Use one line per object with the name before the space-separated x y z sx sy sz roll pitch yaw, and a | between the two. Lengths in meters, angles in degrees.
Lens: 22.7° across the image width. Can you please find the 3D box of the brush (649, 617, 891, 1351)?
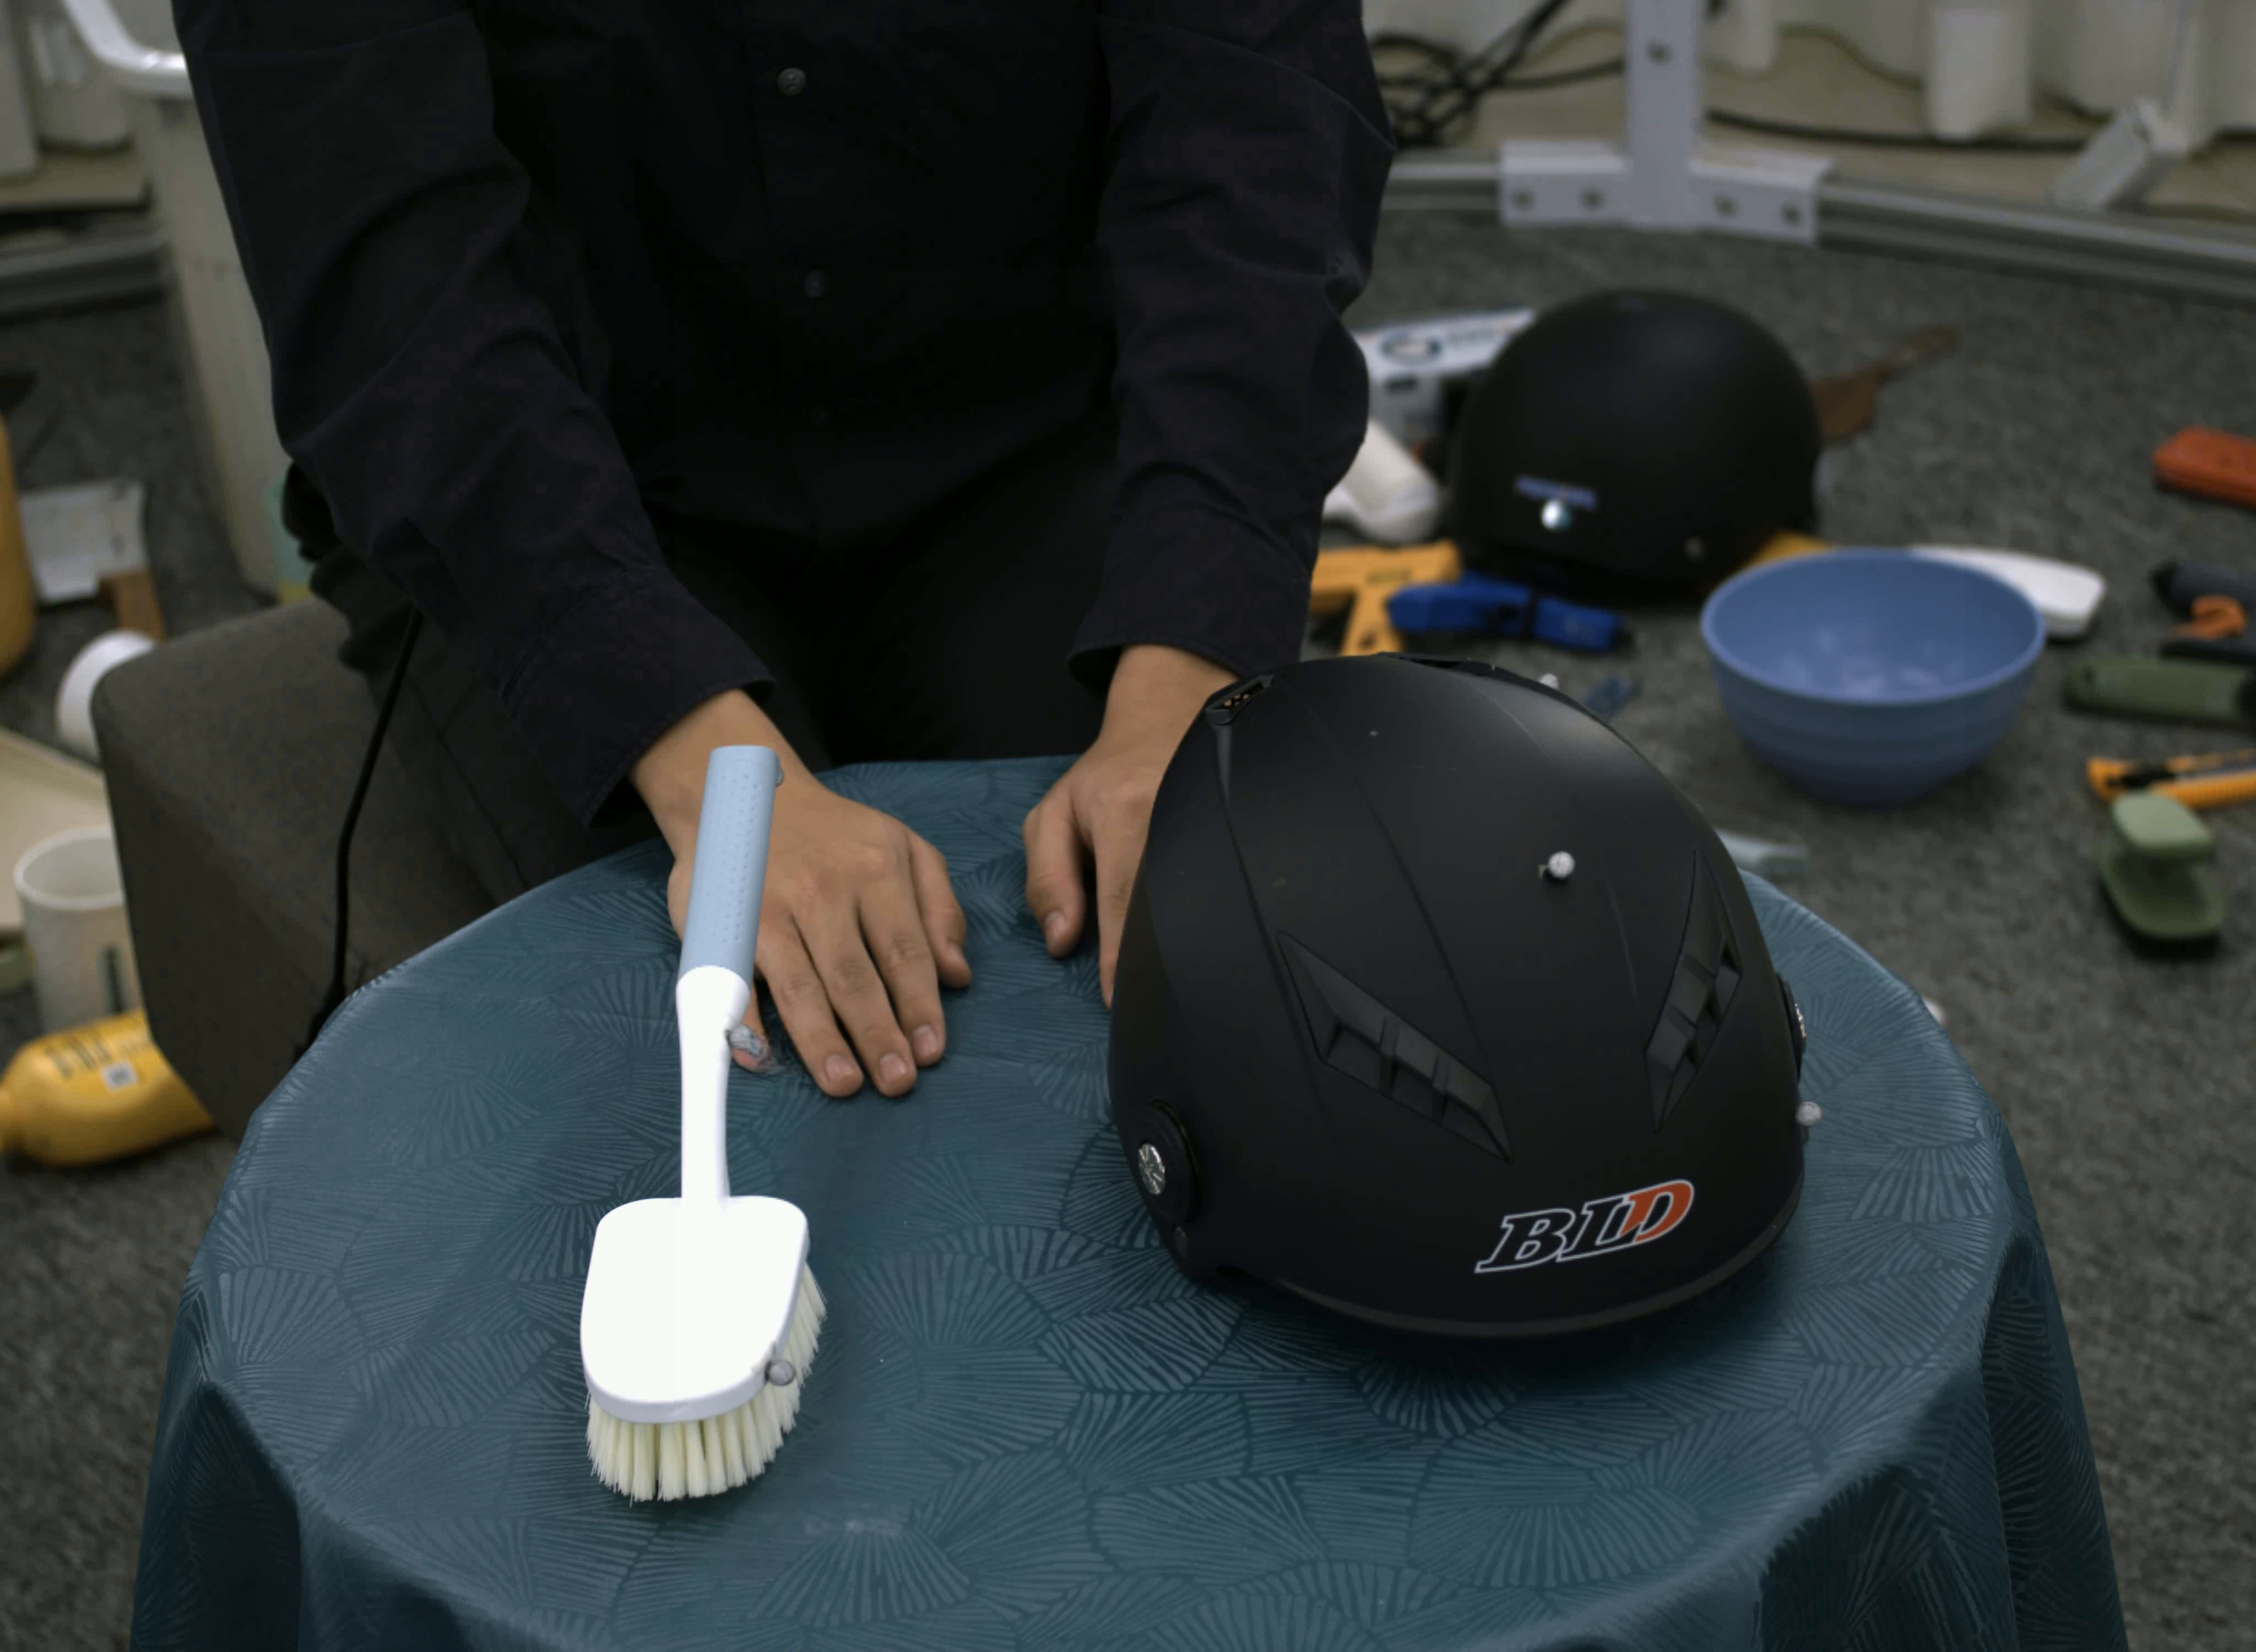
brush | -0.108 0.060 1.847 0.083 0.083 0.332 28 35 -19

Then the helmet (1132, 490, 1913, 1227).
helmet | 0.123 0.001 1.850 0.247 0.170 0.279 -11 30 -13
